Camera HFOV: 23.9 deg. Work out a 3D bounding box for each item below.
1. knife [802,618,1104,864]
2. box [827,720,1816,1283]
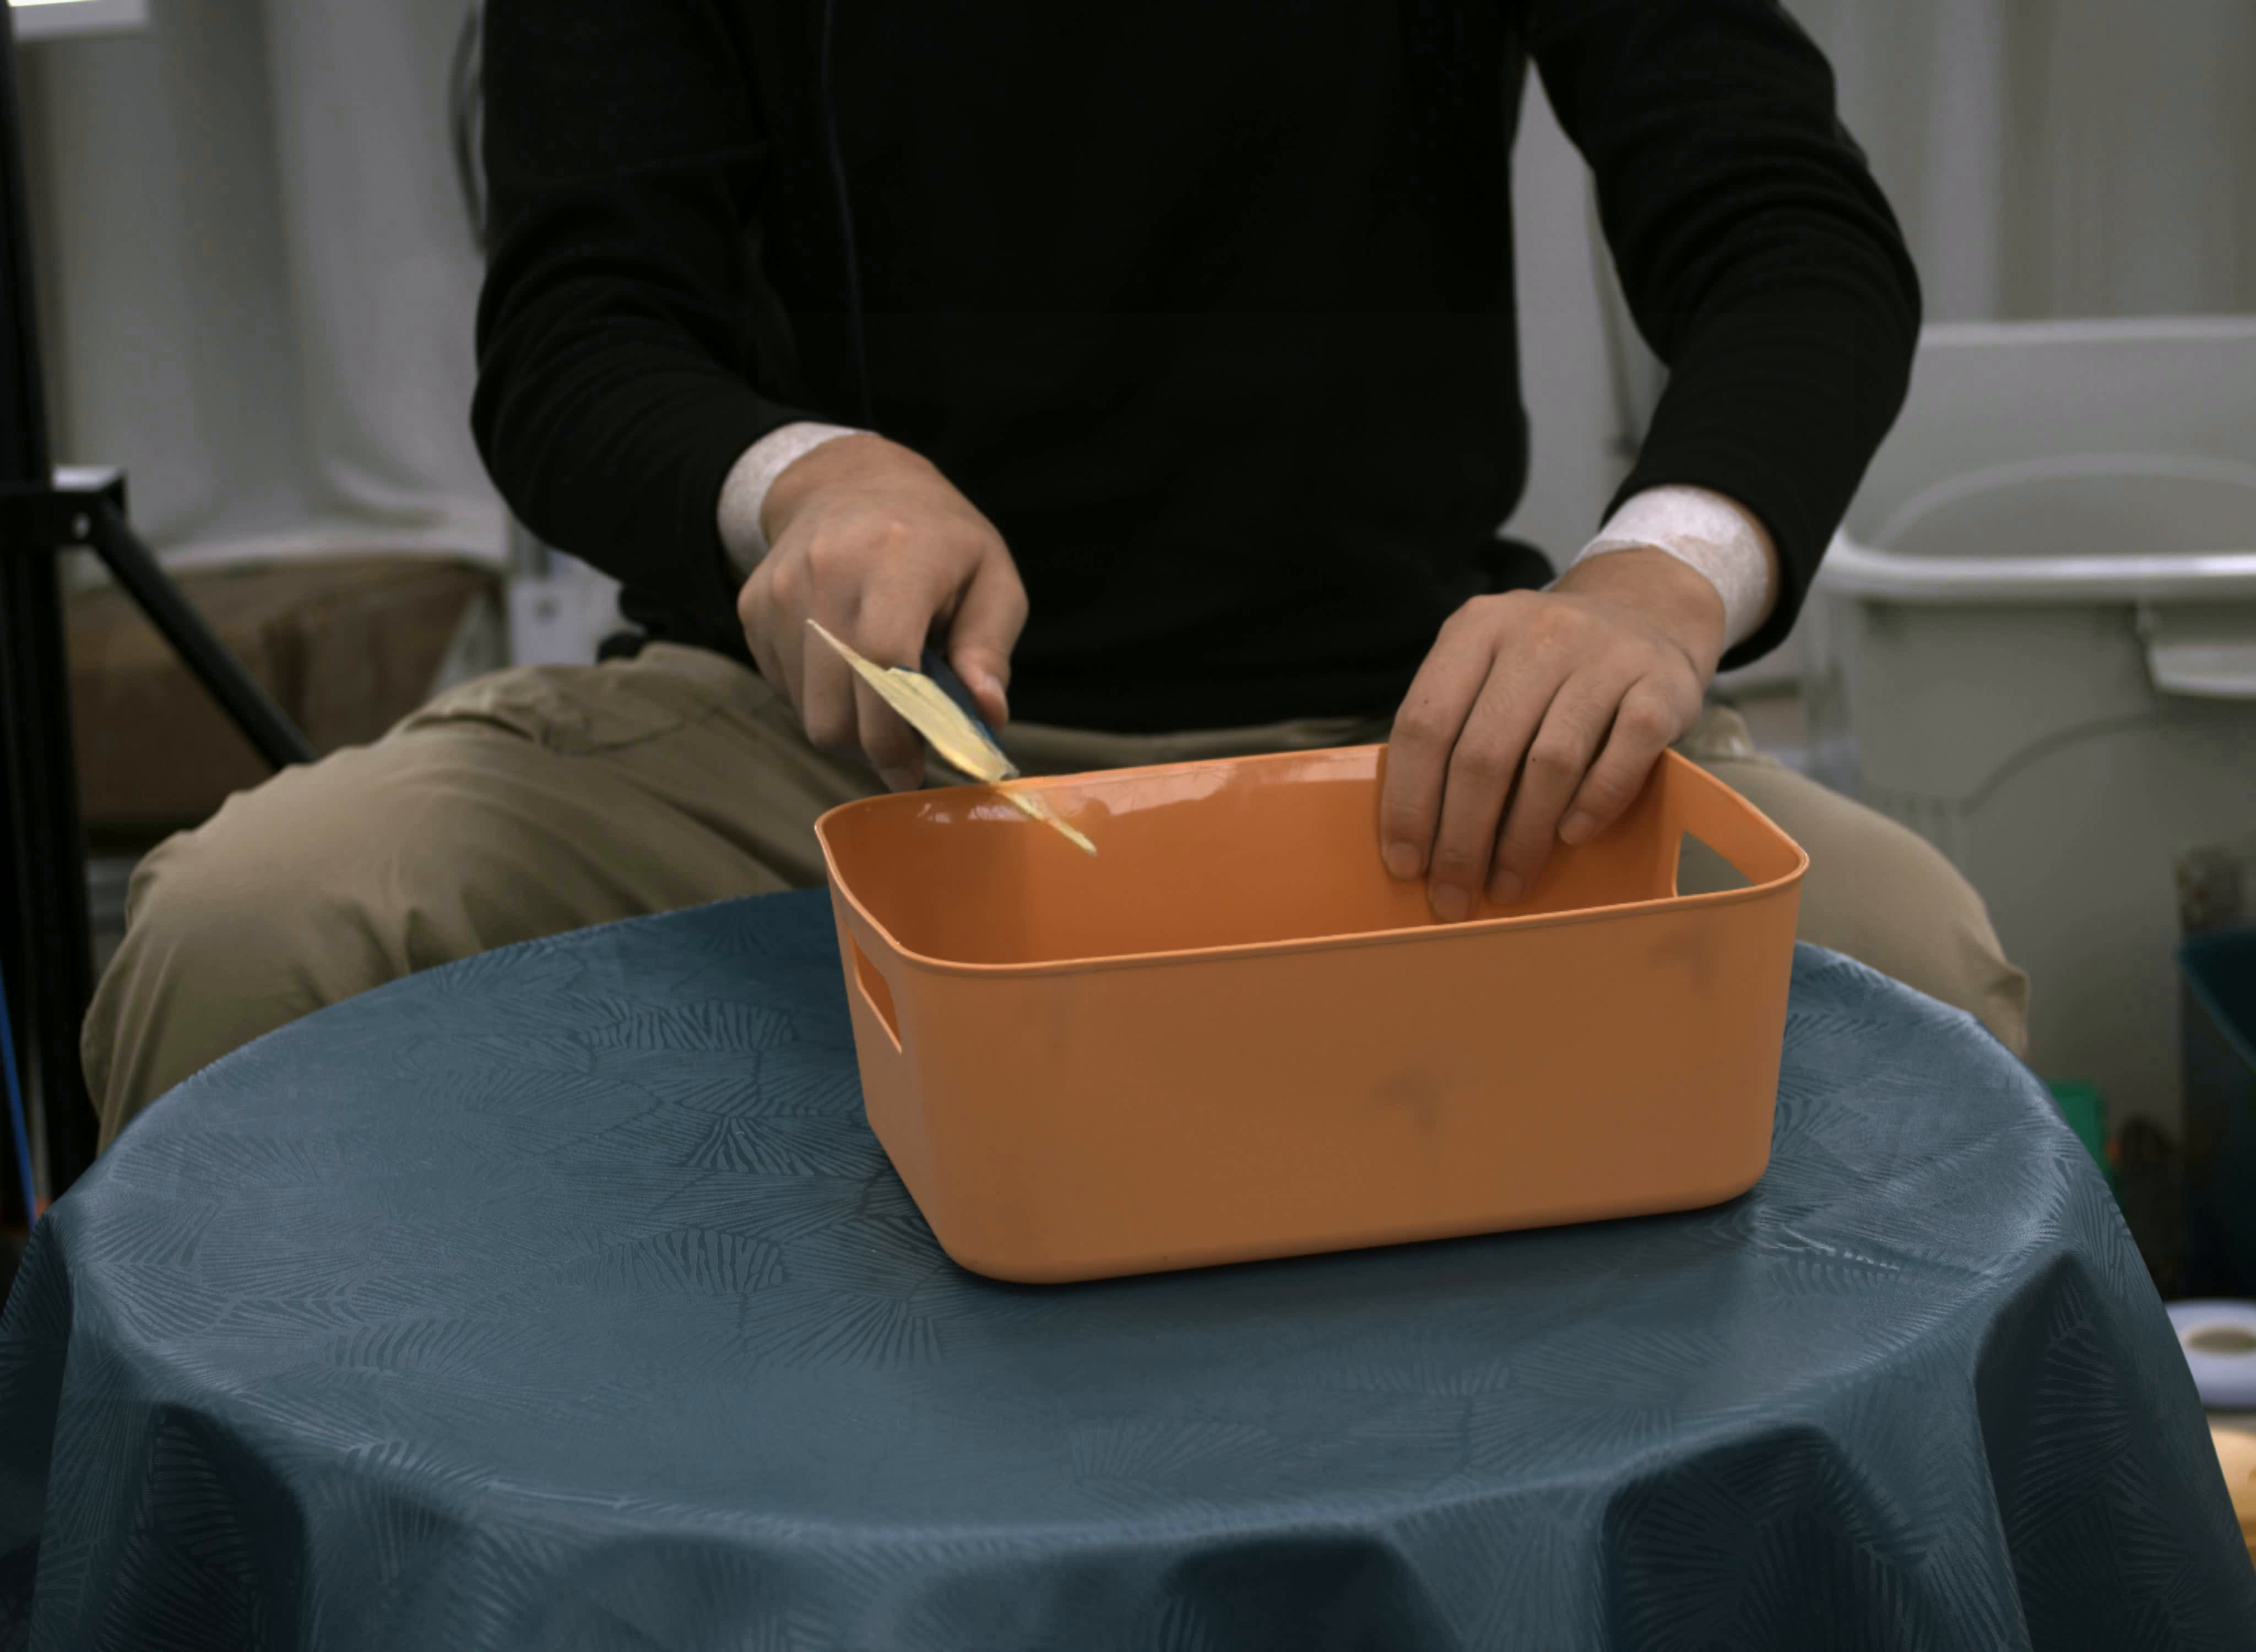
[{"bbox_3d":[-0.065,-0.034,1.634,0.080,0.027,0.293,39,-1,-20],"label":"knife"},{"bbox_3d":[0.054,0.050,1.562,0.270,0.102,0.202,-6,17,-11],"label":"box"}]
